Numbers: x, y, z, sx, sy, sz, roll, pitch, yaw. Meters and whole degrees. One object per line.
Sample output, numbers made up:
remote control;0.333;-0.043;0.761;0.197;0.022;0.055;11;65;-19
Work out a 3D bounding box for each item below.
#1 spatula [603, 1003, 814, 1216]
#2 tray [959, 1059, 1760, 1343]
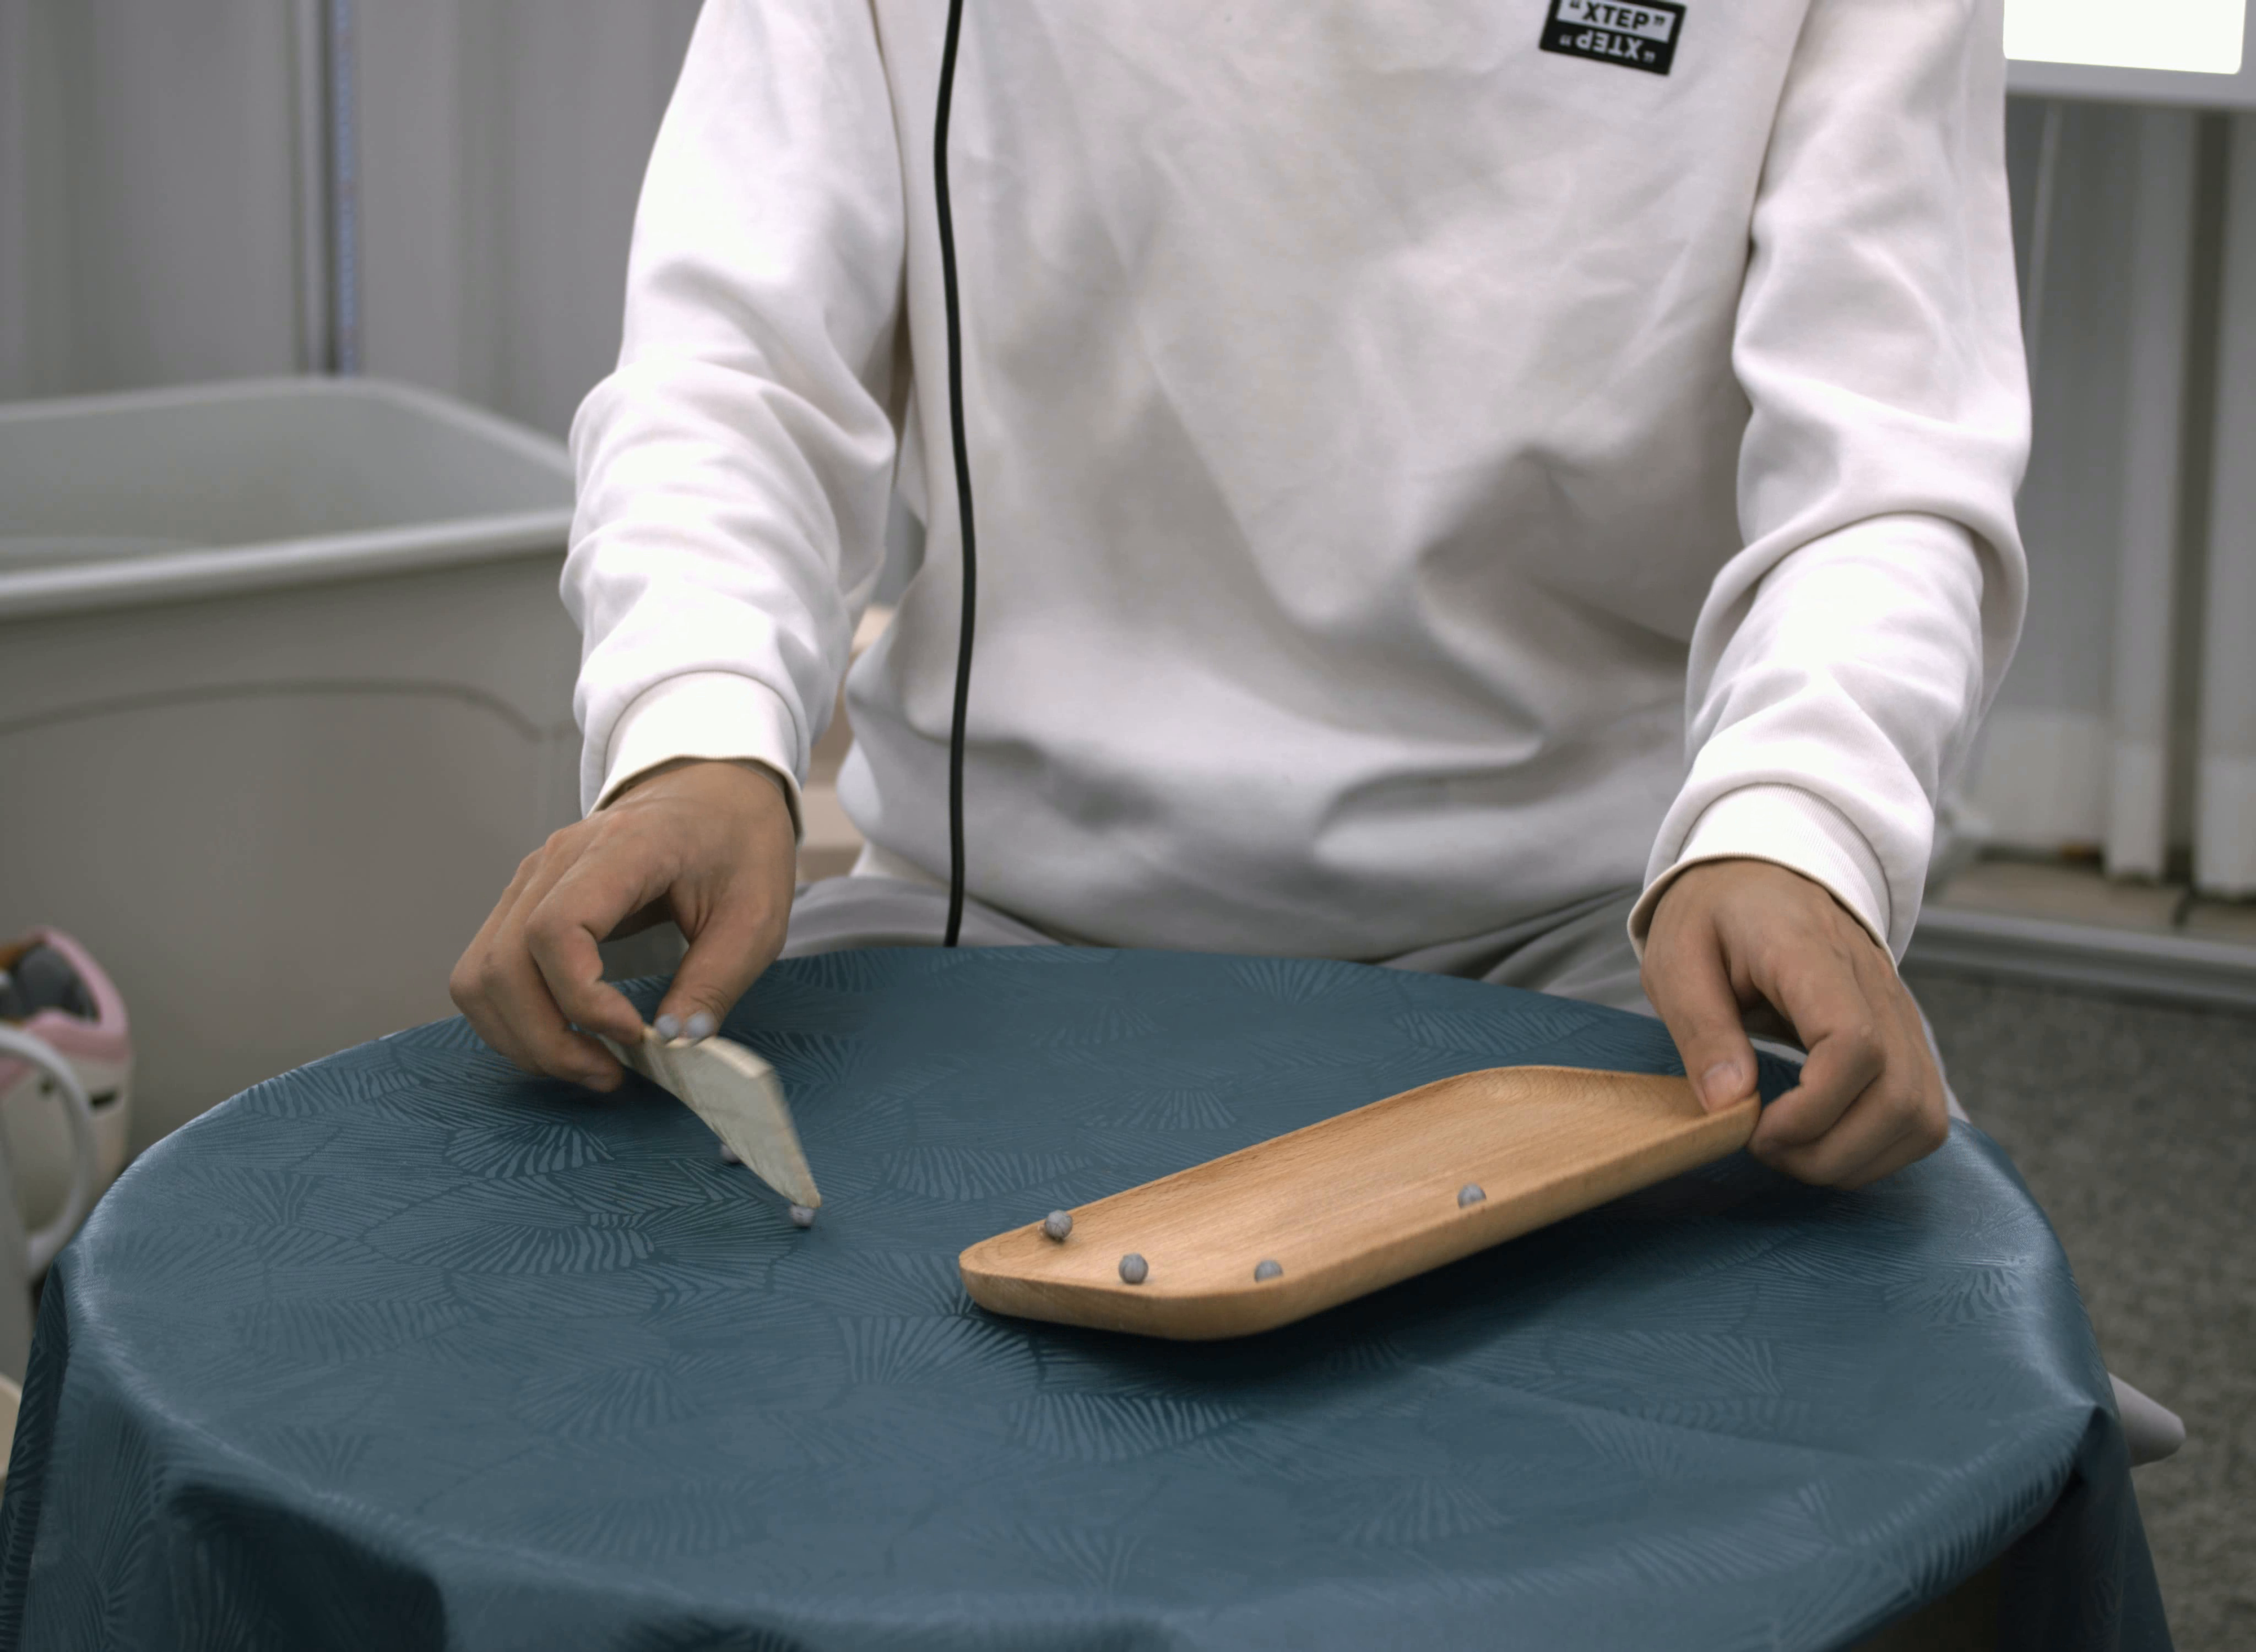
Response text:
spatula;-0.137;0.082;1.655;0.005;0.051;0.206;-32;17;-12
tray;0.072;0.110;1.571;0.252;0.023;0.129;-15;16;-42
